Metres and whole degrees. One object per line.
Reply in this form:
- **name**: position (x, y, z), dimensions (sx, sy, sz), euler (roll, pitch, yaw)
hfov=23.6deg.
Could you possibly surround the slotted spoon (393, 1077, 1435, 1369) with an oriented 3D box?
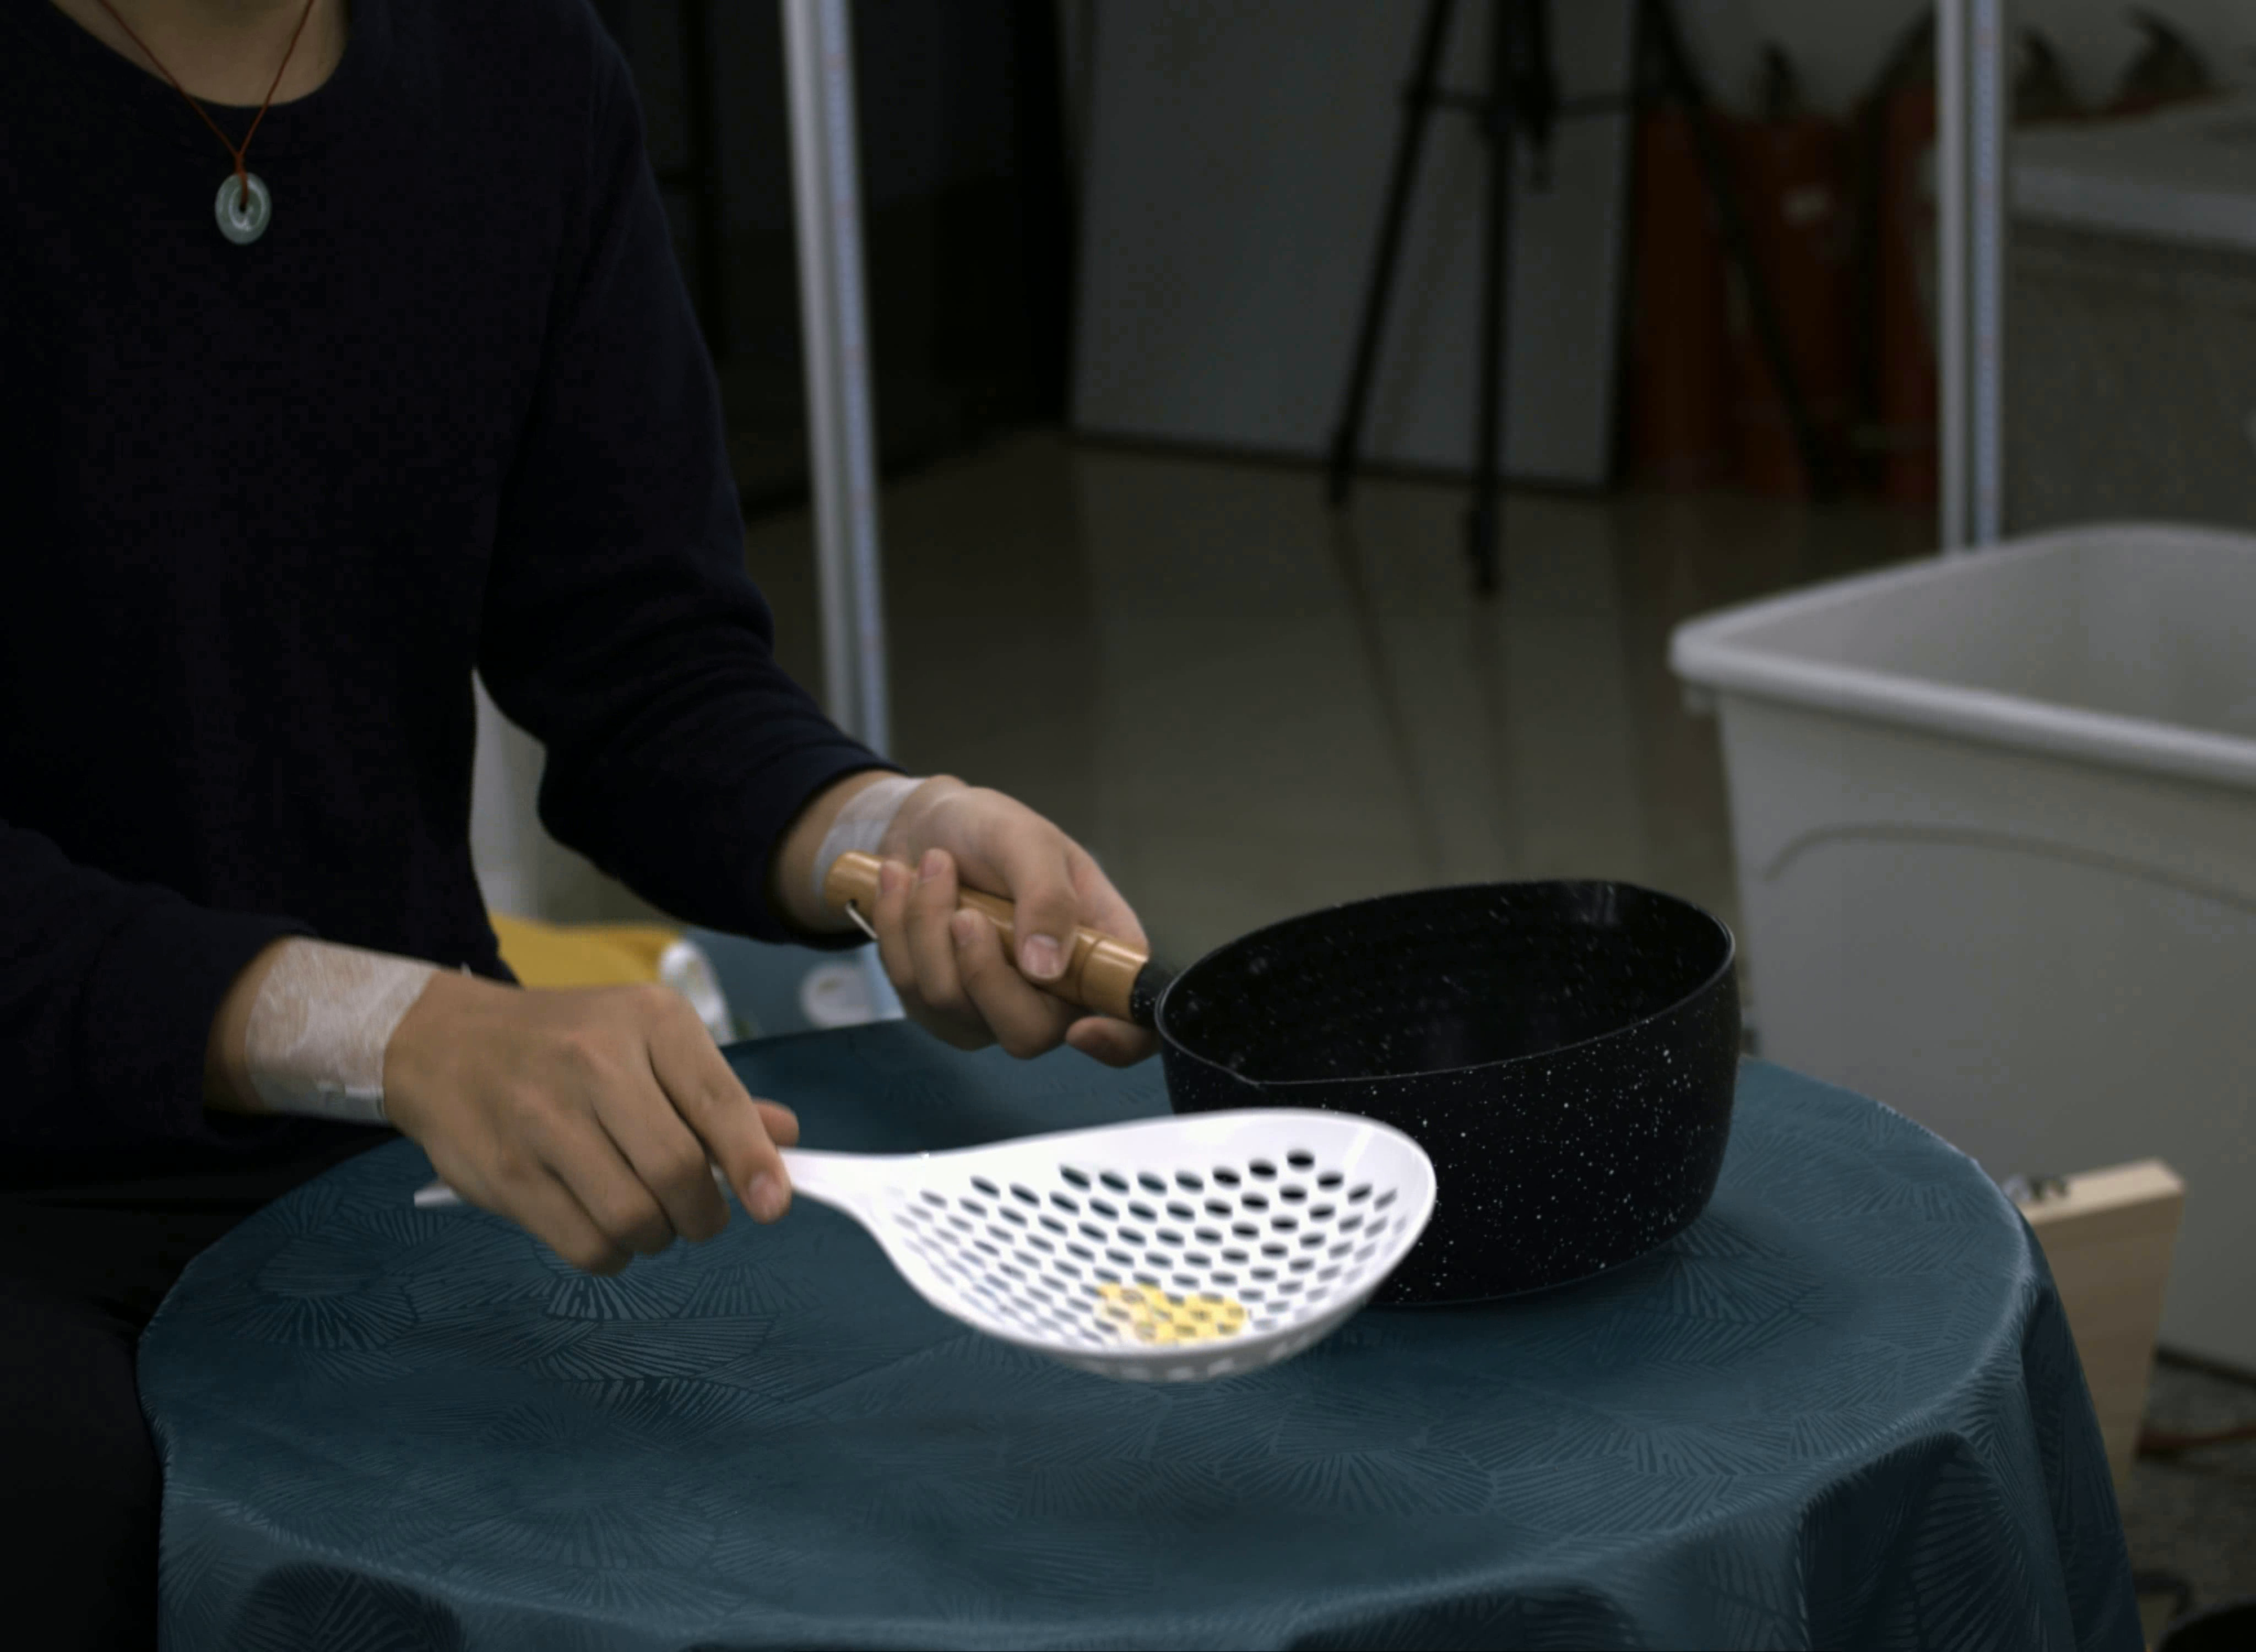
- **slotted spoon**: position (-0.072, 0.109, 1.554), dimensions (0.349, 0.050, 0.135), euler (8, 31, 31)

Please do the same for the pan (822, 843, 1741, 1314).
- **pan**: position (0.039, 0.069, 1.734), dimensions (0.345, 0.109, 0.204), euler (4, 22, 37)
